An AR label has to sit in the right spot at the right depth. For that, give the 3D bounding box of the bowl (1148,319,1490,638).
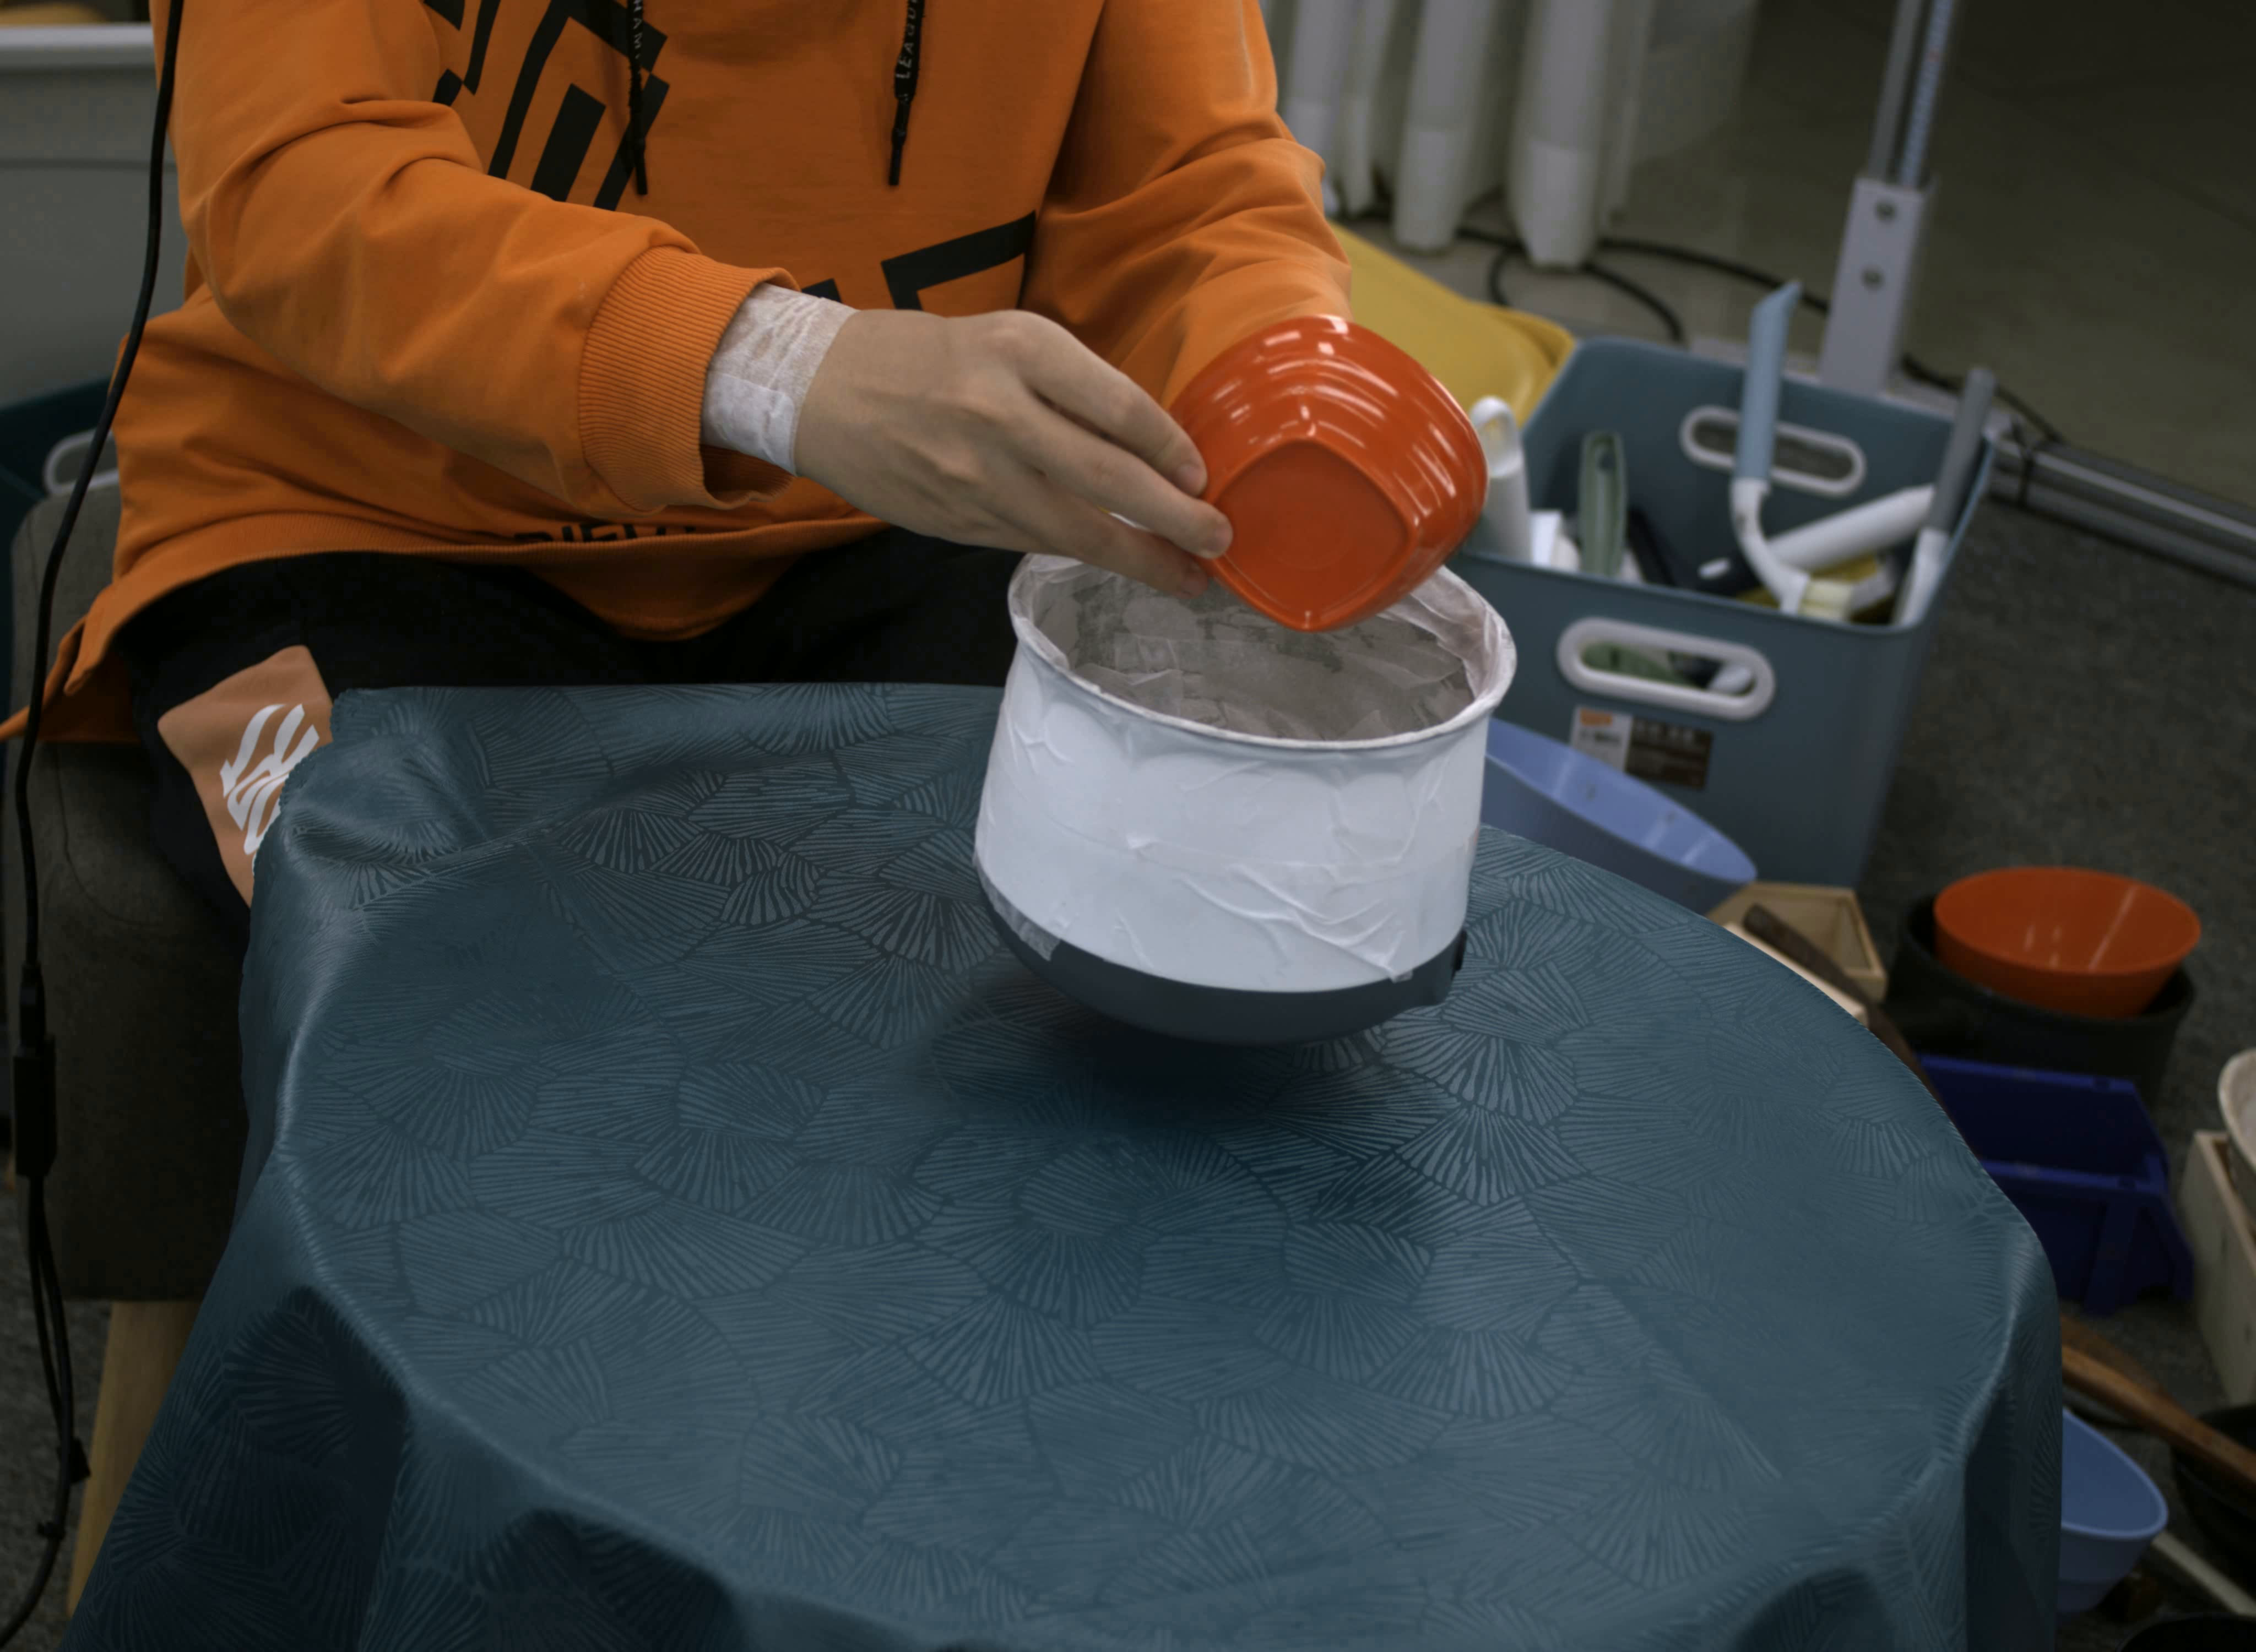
[{"bbox_3d":[0.063,-0.110,1.825,0.119,0.118,0.051,9,33,4],"label":"bowl"}]

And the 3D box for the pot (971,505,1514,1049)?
[{"bbox_3d":[0.040,-0.029,1.884,0.178,0.136,0.235,11,29,3],"label":"pot"}]
